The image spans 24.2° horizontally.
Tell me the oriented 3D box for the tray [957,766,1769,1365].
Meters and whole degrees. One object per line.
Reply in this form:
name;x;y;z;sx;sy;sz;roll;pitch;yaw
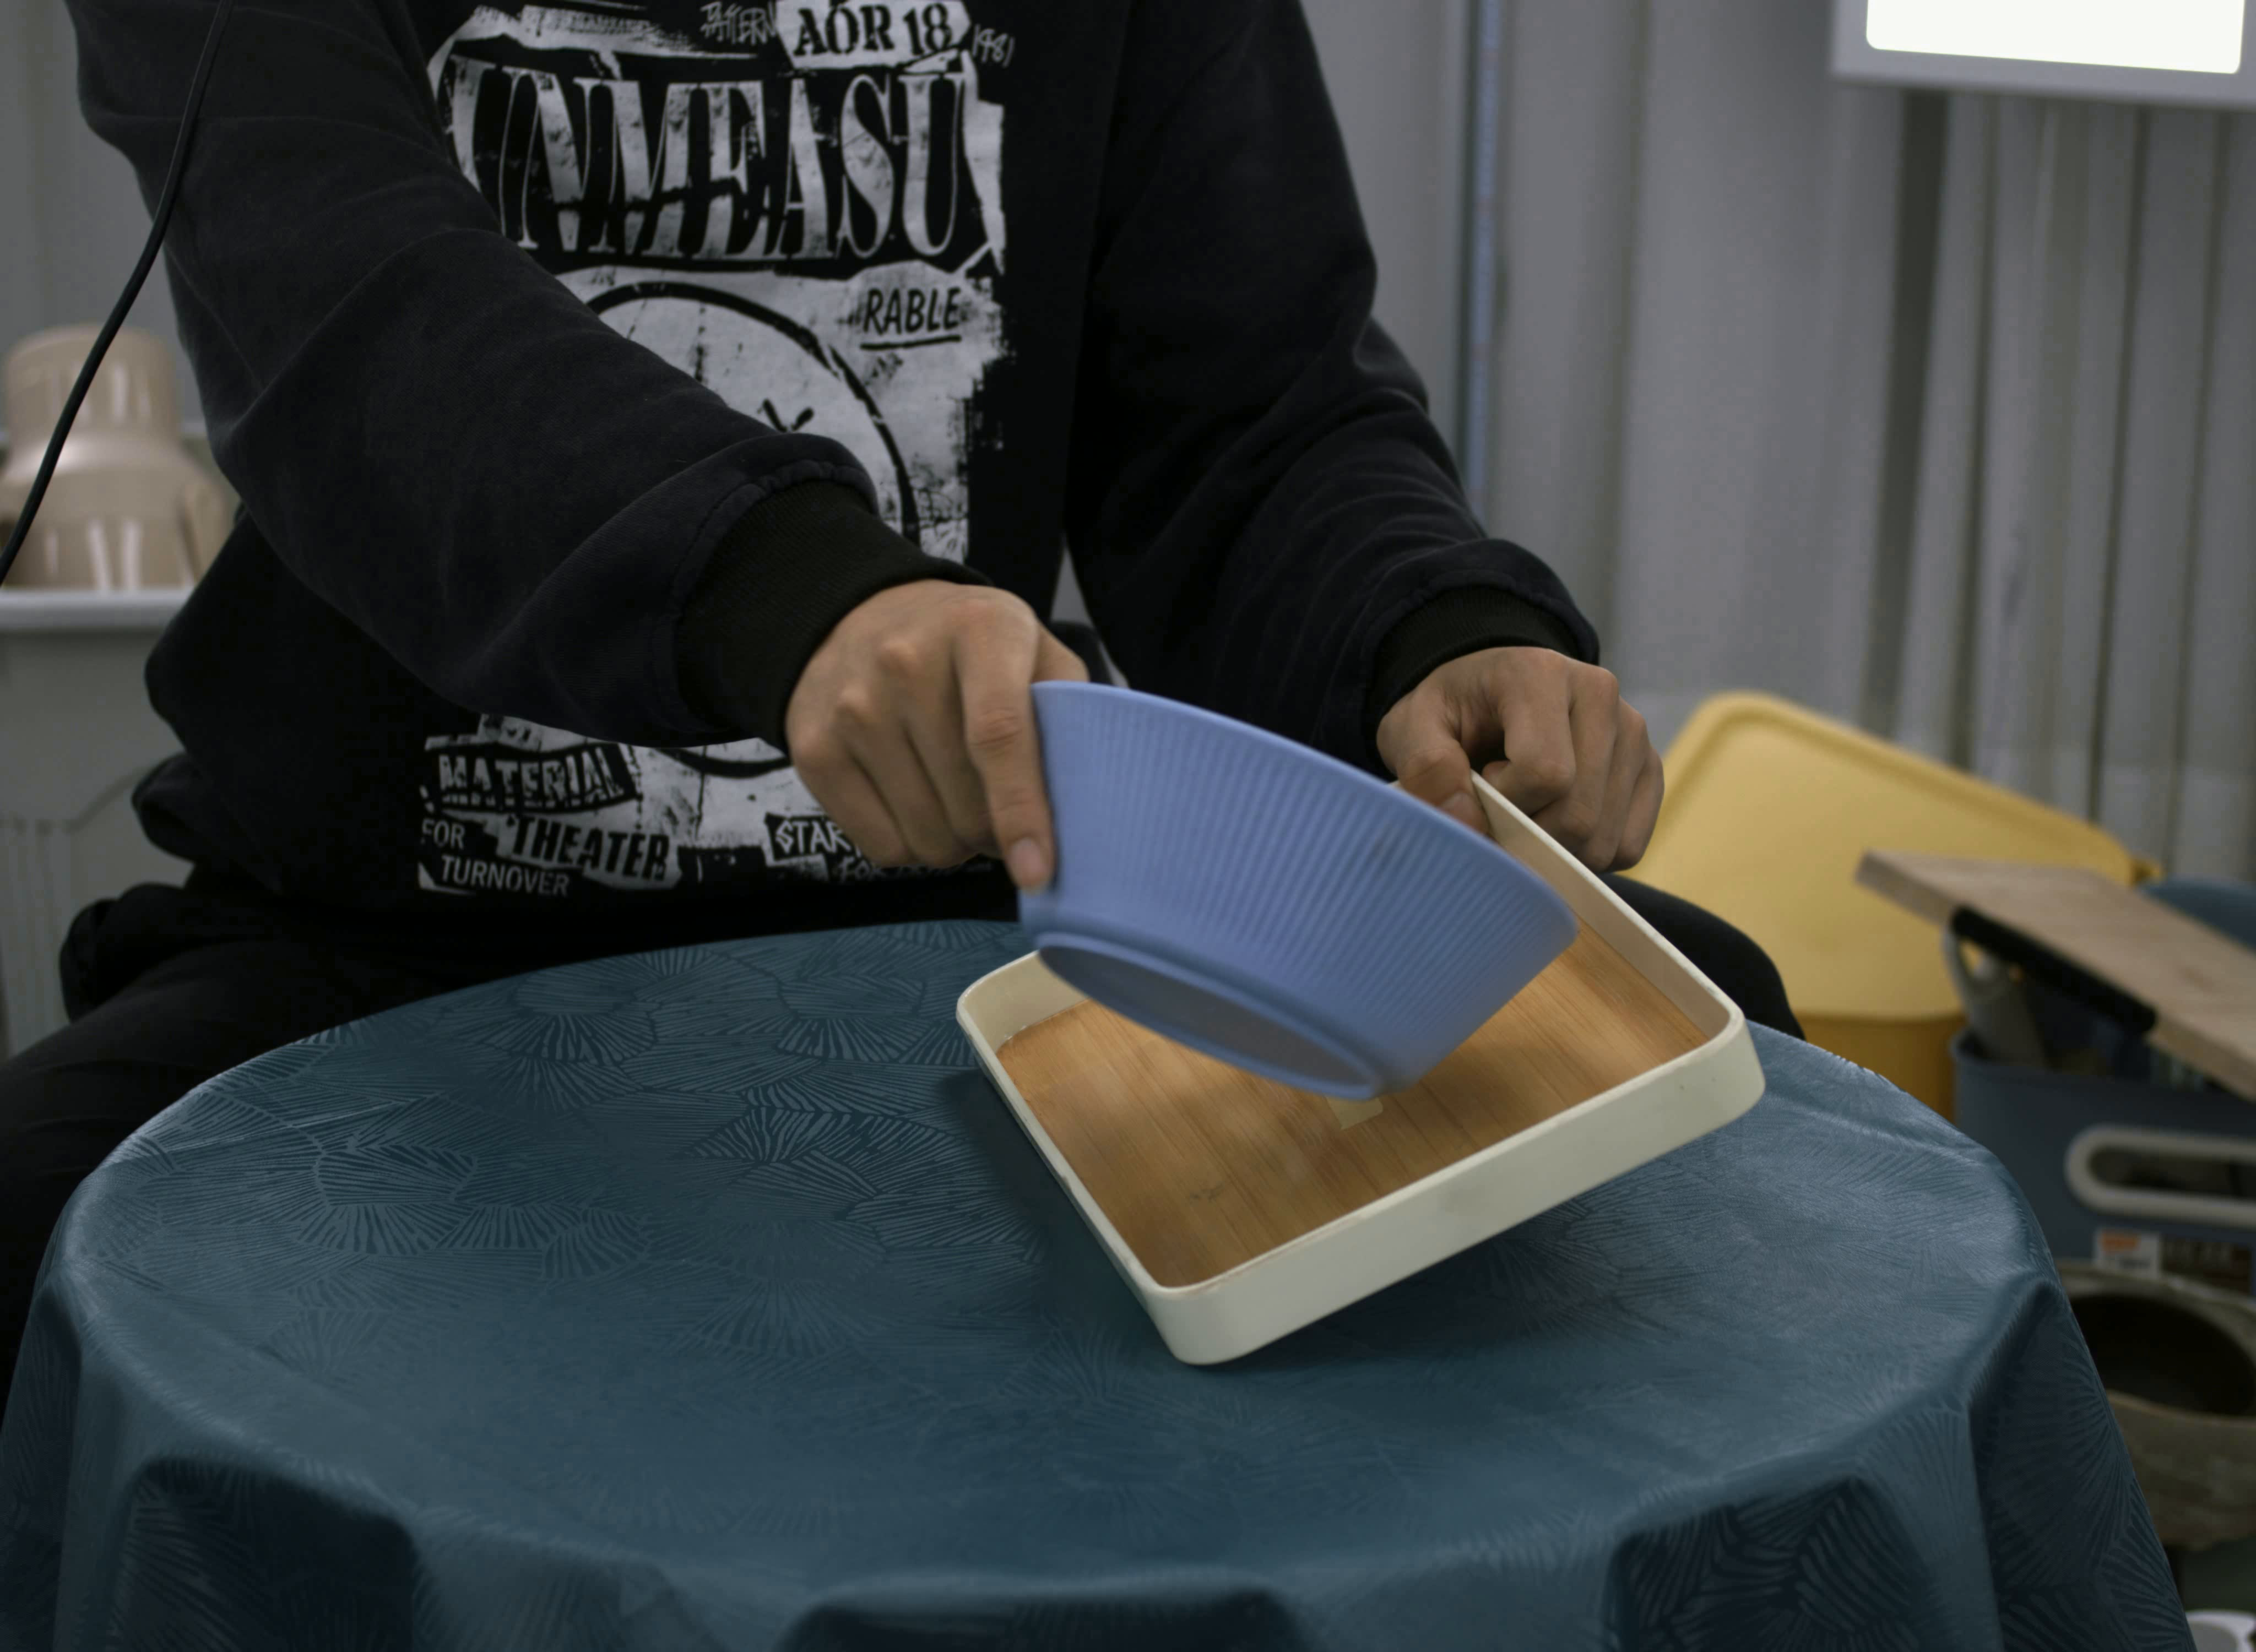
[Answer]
tray;0.064;0.067;1.618;0.191;0.028;0.297;-25;20;-6

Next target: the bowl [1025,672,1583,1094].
bowl;0.039;0.024;1.518;0.175;0.070;0.177;23;-11;5
